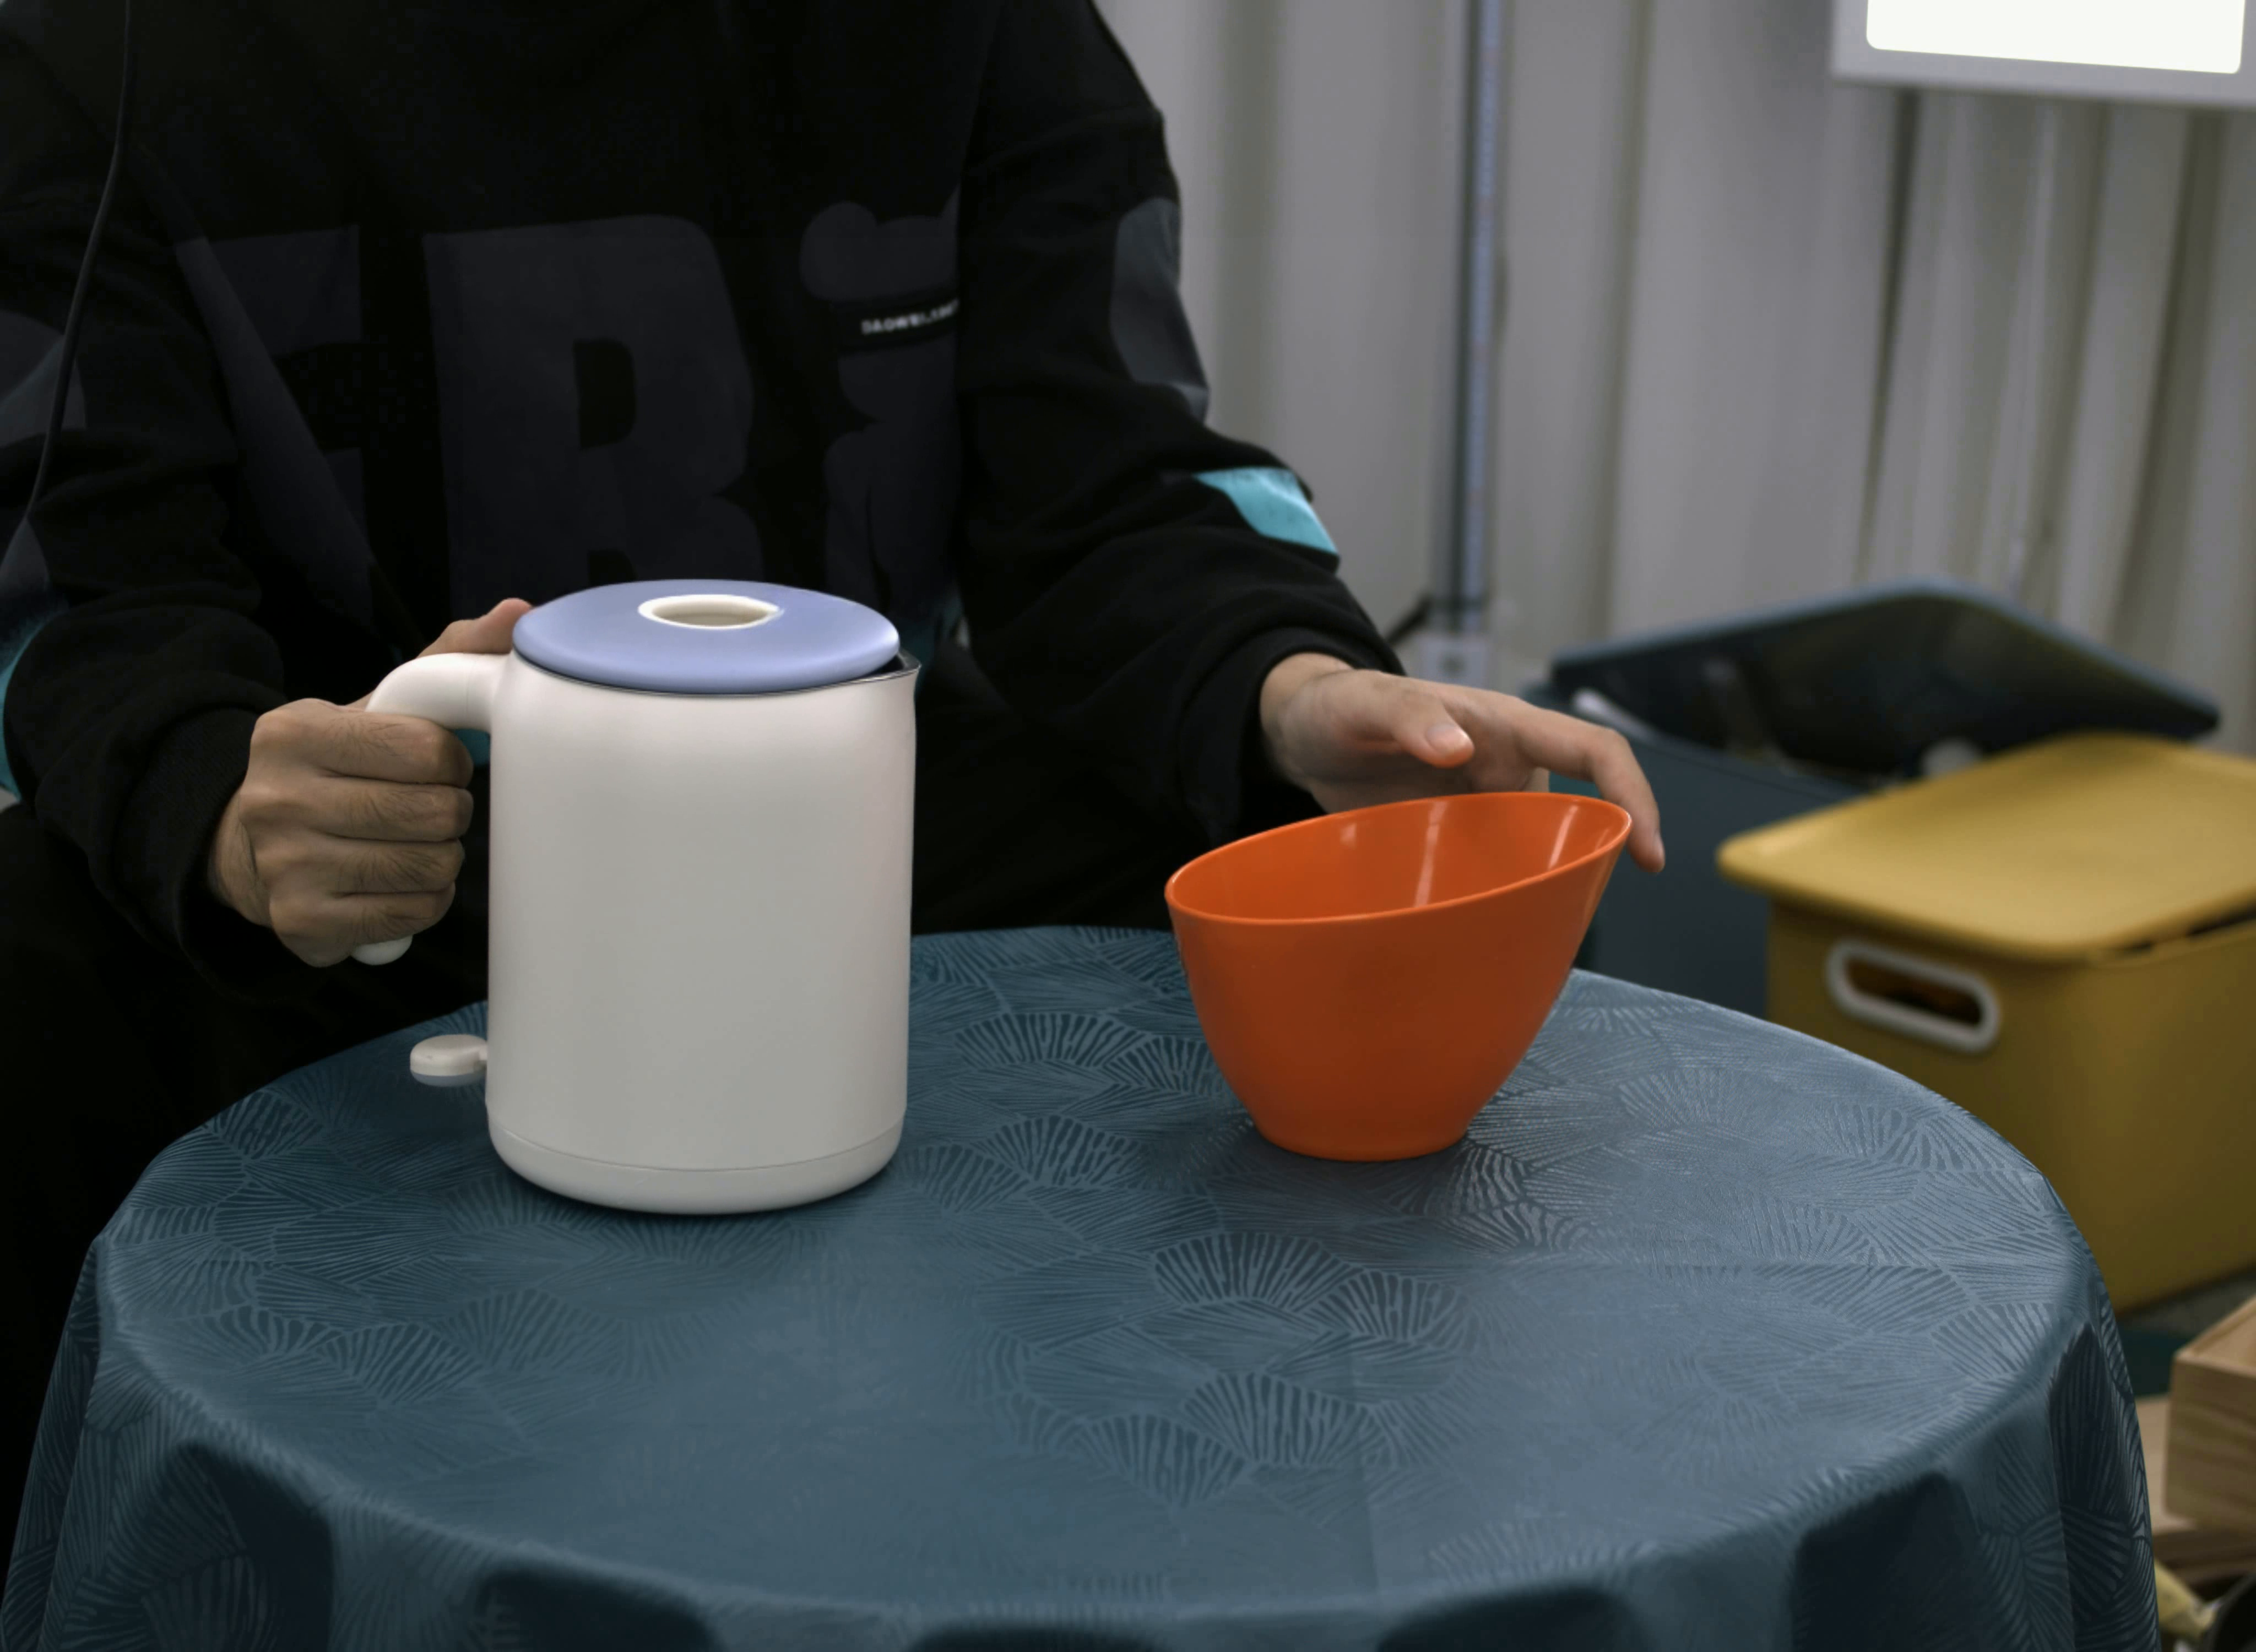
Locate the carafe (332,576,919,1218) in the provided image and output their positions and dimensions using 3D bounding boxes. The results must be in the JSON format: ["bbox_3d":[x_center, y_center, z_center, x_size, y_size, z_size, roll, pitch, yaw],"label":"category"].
[{"bbox_3d":[-0.155,0.019,1.624,0.189,0.184,0.132,3,15,13],"label":"carafe"}]

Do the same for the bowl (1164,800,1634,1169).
[{"bbox_3d":[0.084,0.050,1.658,0.147,0.105,0.147,1,16,0],"label":"bowl"}]
